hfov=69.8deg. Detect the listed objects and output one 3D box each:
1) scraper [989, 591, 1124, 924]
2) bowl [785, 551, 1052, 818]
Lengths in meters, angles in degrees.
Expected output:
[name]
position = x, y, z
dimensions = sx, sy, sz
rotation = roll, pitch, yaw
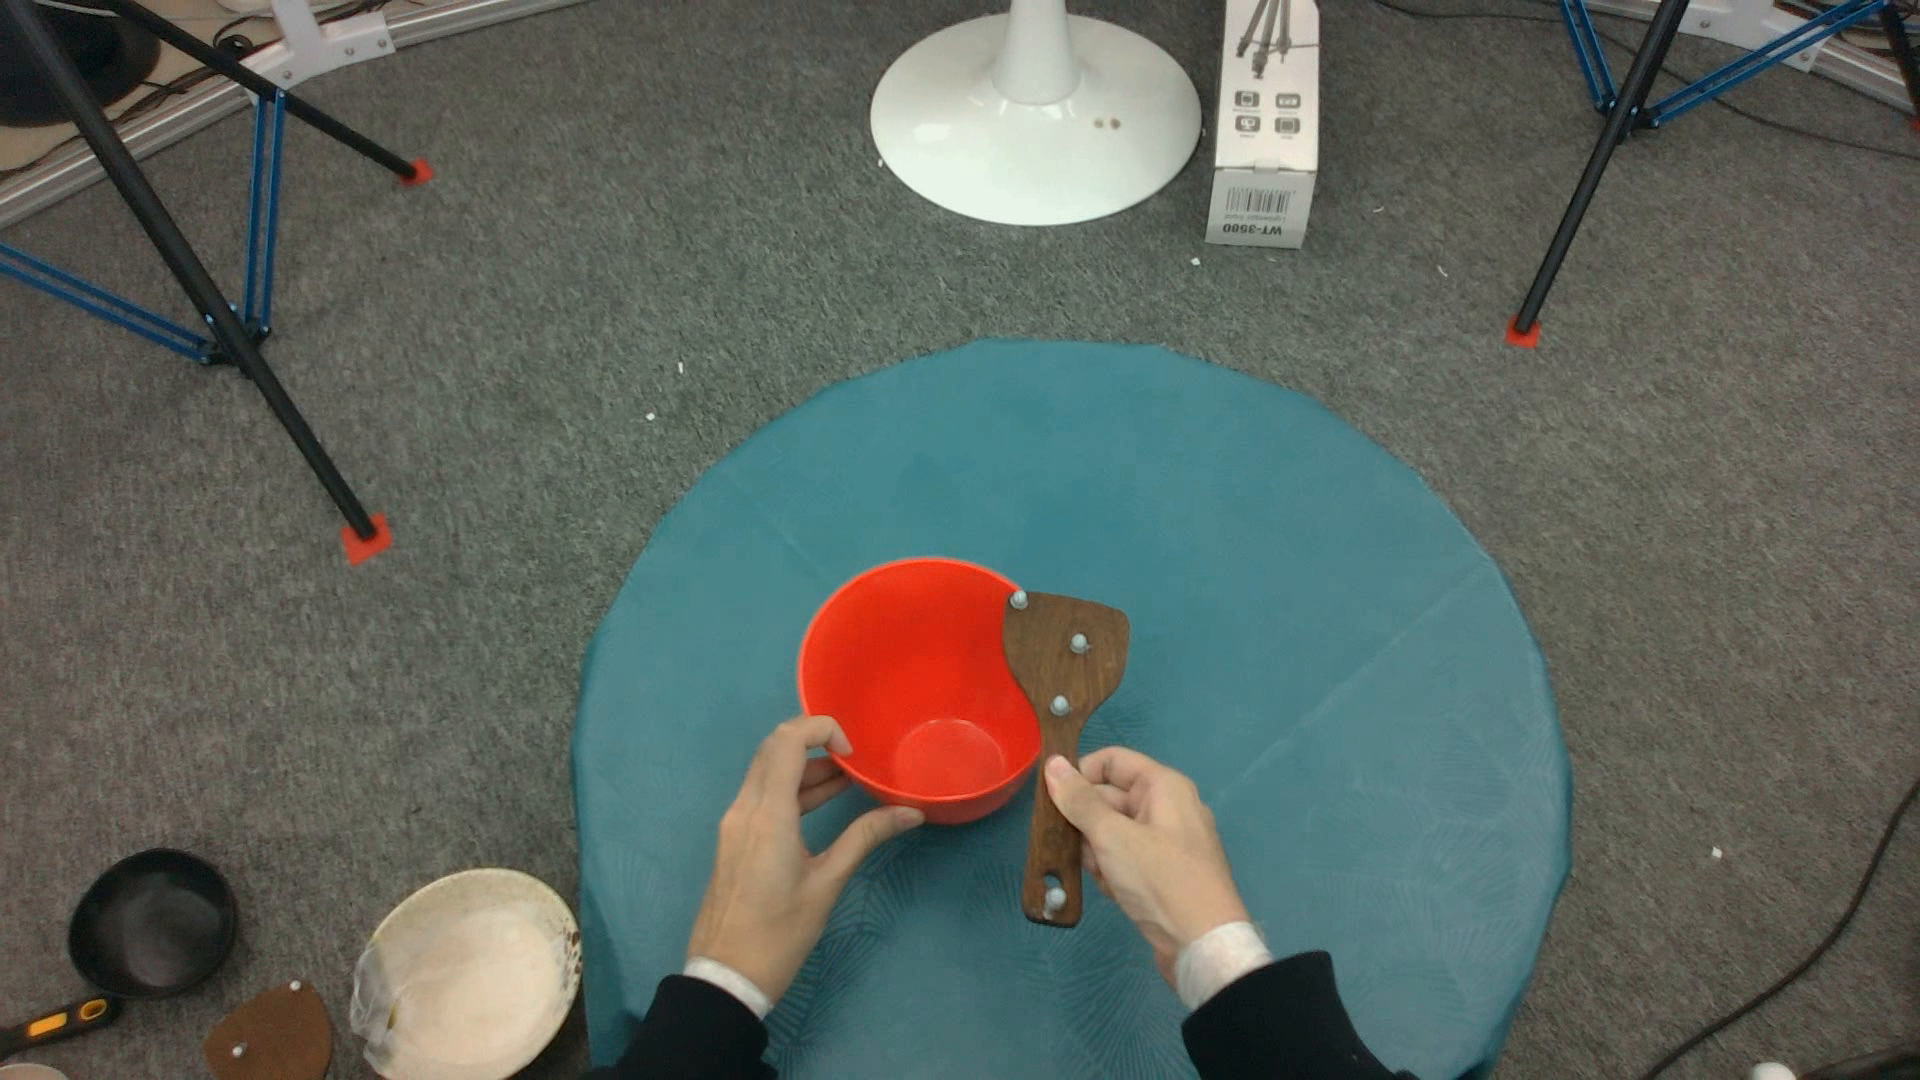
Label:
[scraper]
position = 0.047, 0.104, 0.703
dimensions = 0.076, 0.011, 0.212
rotation = 11, 41, -3
[bowl]
position = -0.021, 0.094, 0.783
dimensions = 0.148, 0.104, 0.148
rotation = 0, 50, 0
